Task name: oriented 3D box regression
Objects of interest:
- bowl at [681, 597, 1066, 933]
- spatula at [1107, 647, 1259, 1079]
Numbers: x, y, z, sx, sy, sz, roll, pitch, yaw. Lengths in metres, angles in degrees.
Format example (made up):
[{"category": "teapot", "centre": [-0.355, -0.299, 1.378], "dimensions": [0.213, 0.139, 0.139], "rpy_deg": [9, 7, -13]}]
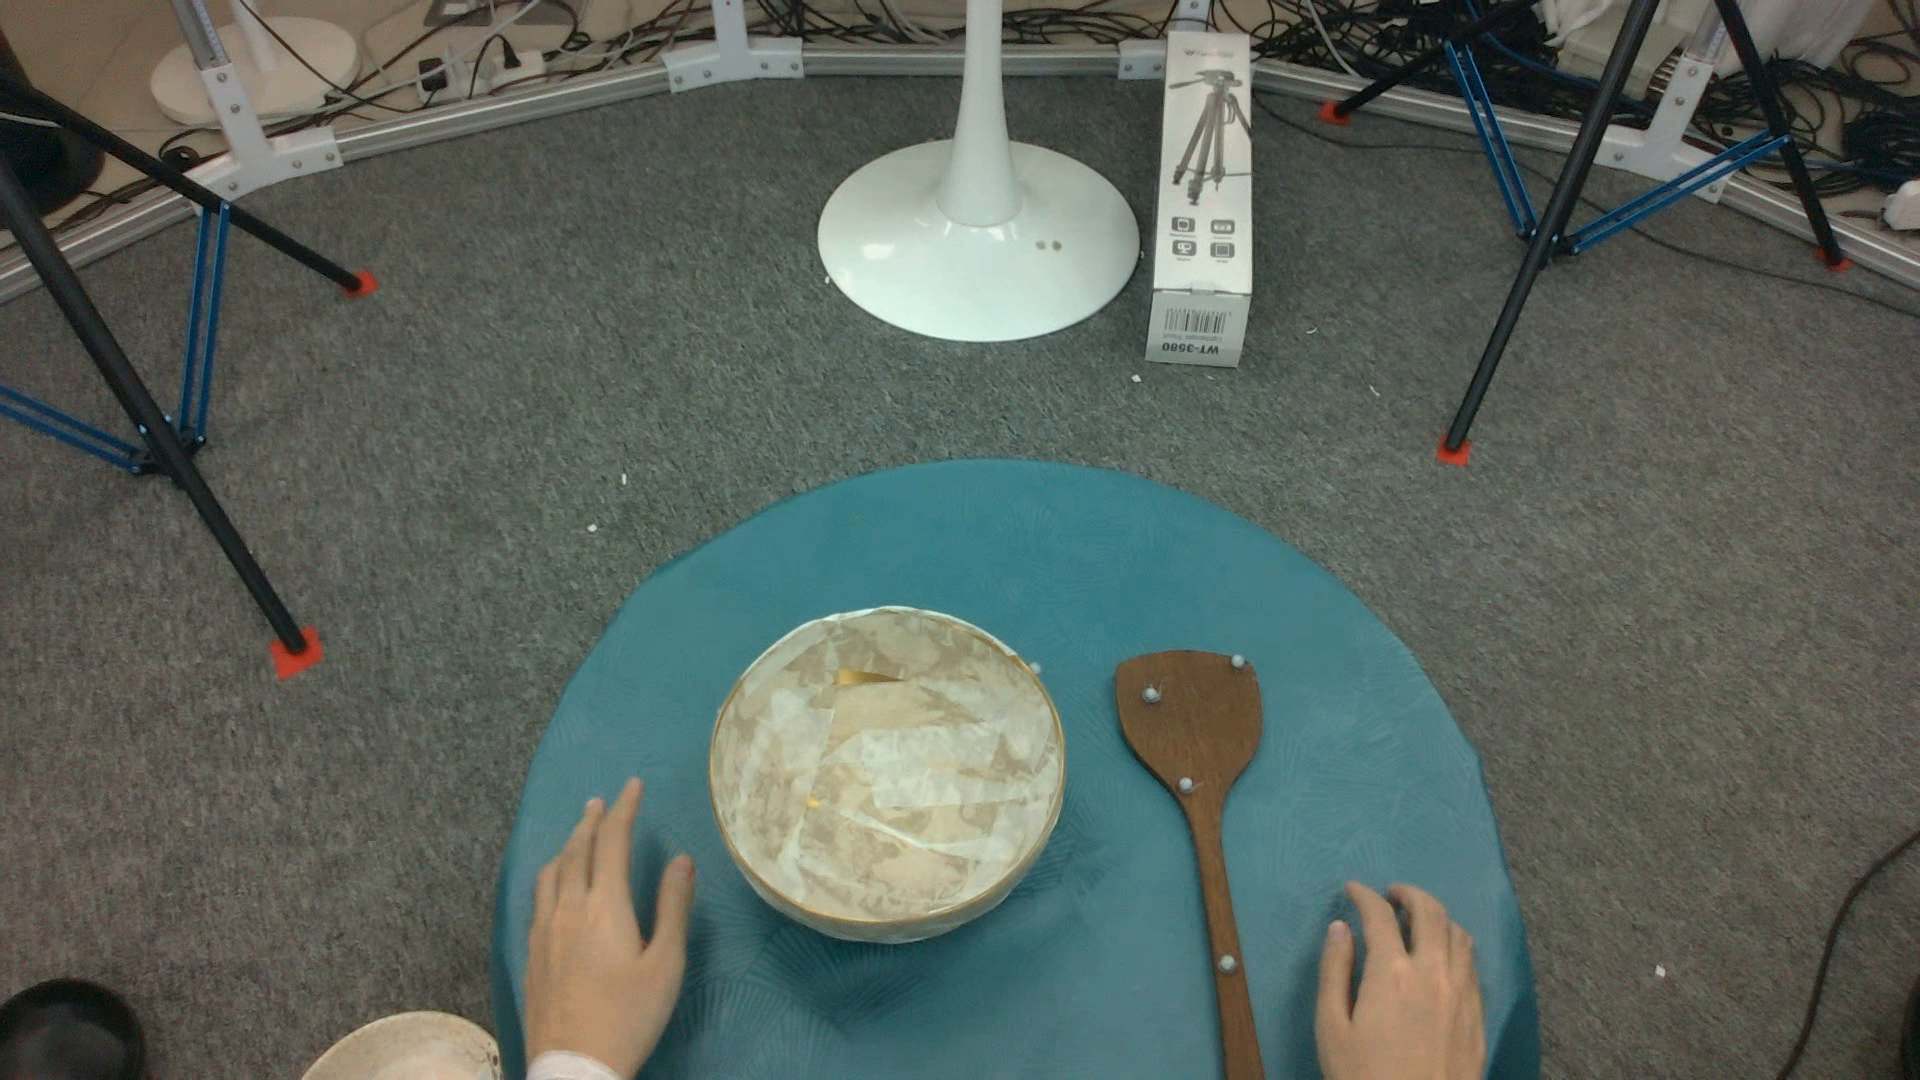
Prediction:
[{"category": "bowl", "centre": [-0.047, 0.143, 0.794], "dimensions": [0.215, 0.094, 0.215], "rpy_deg": [2, 51, -2]}, {"category": "spatula", "centre": [0.147, 0.221, 0.787], "dimensions": [0.096, 0.016, 0.387], "rpy_deg": [0, 50, -2]}]
